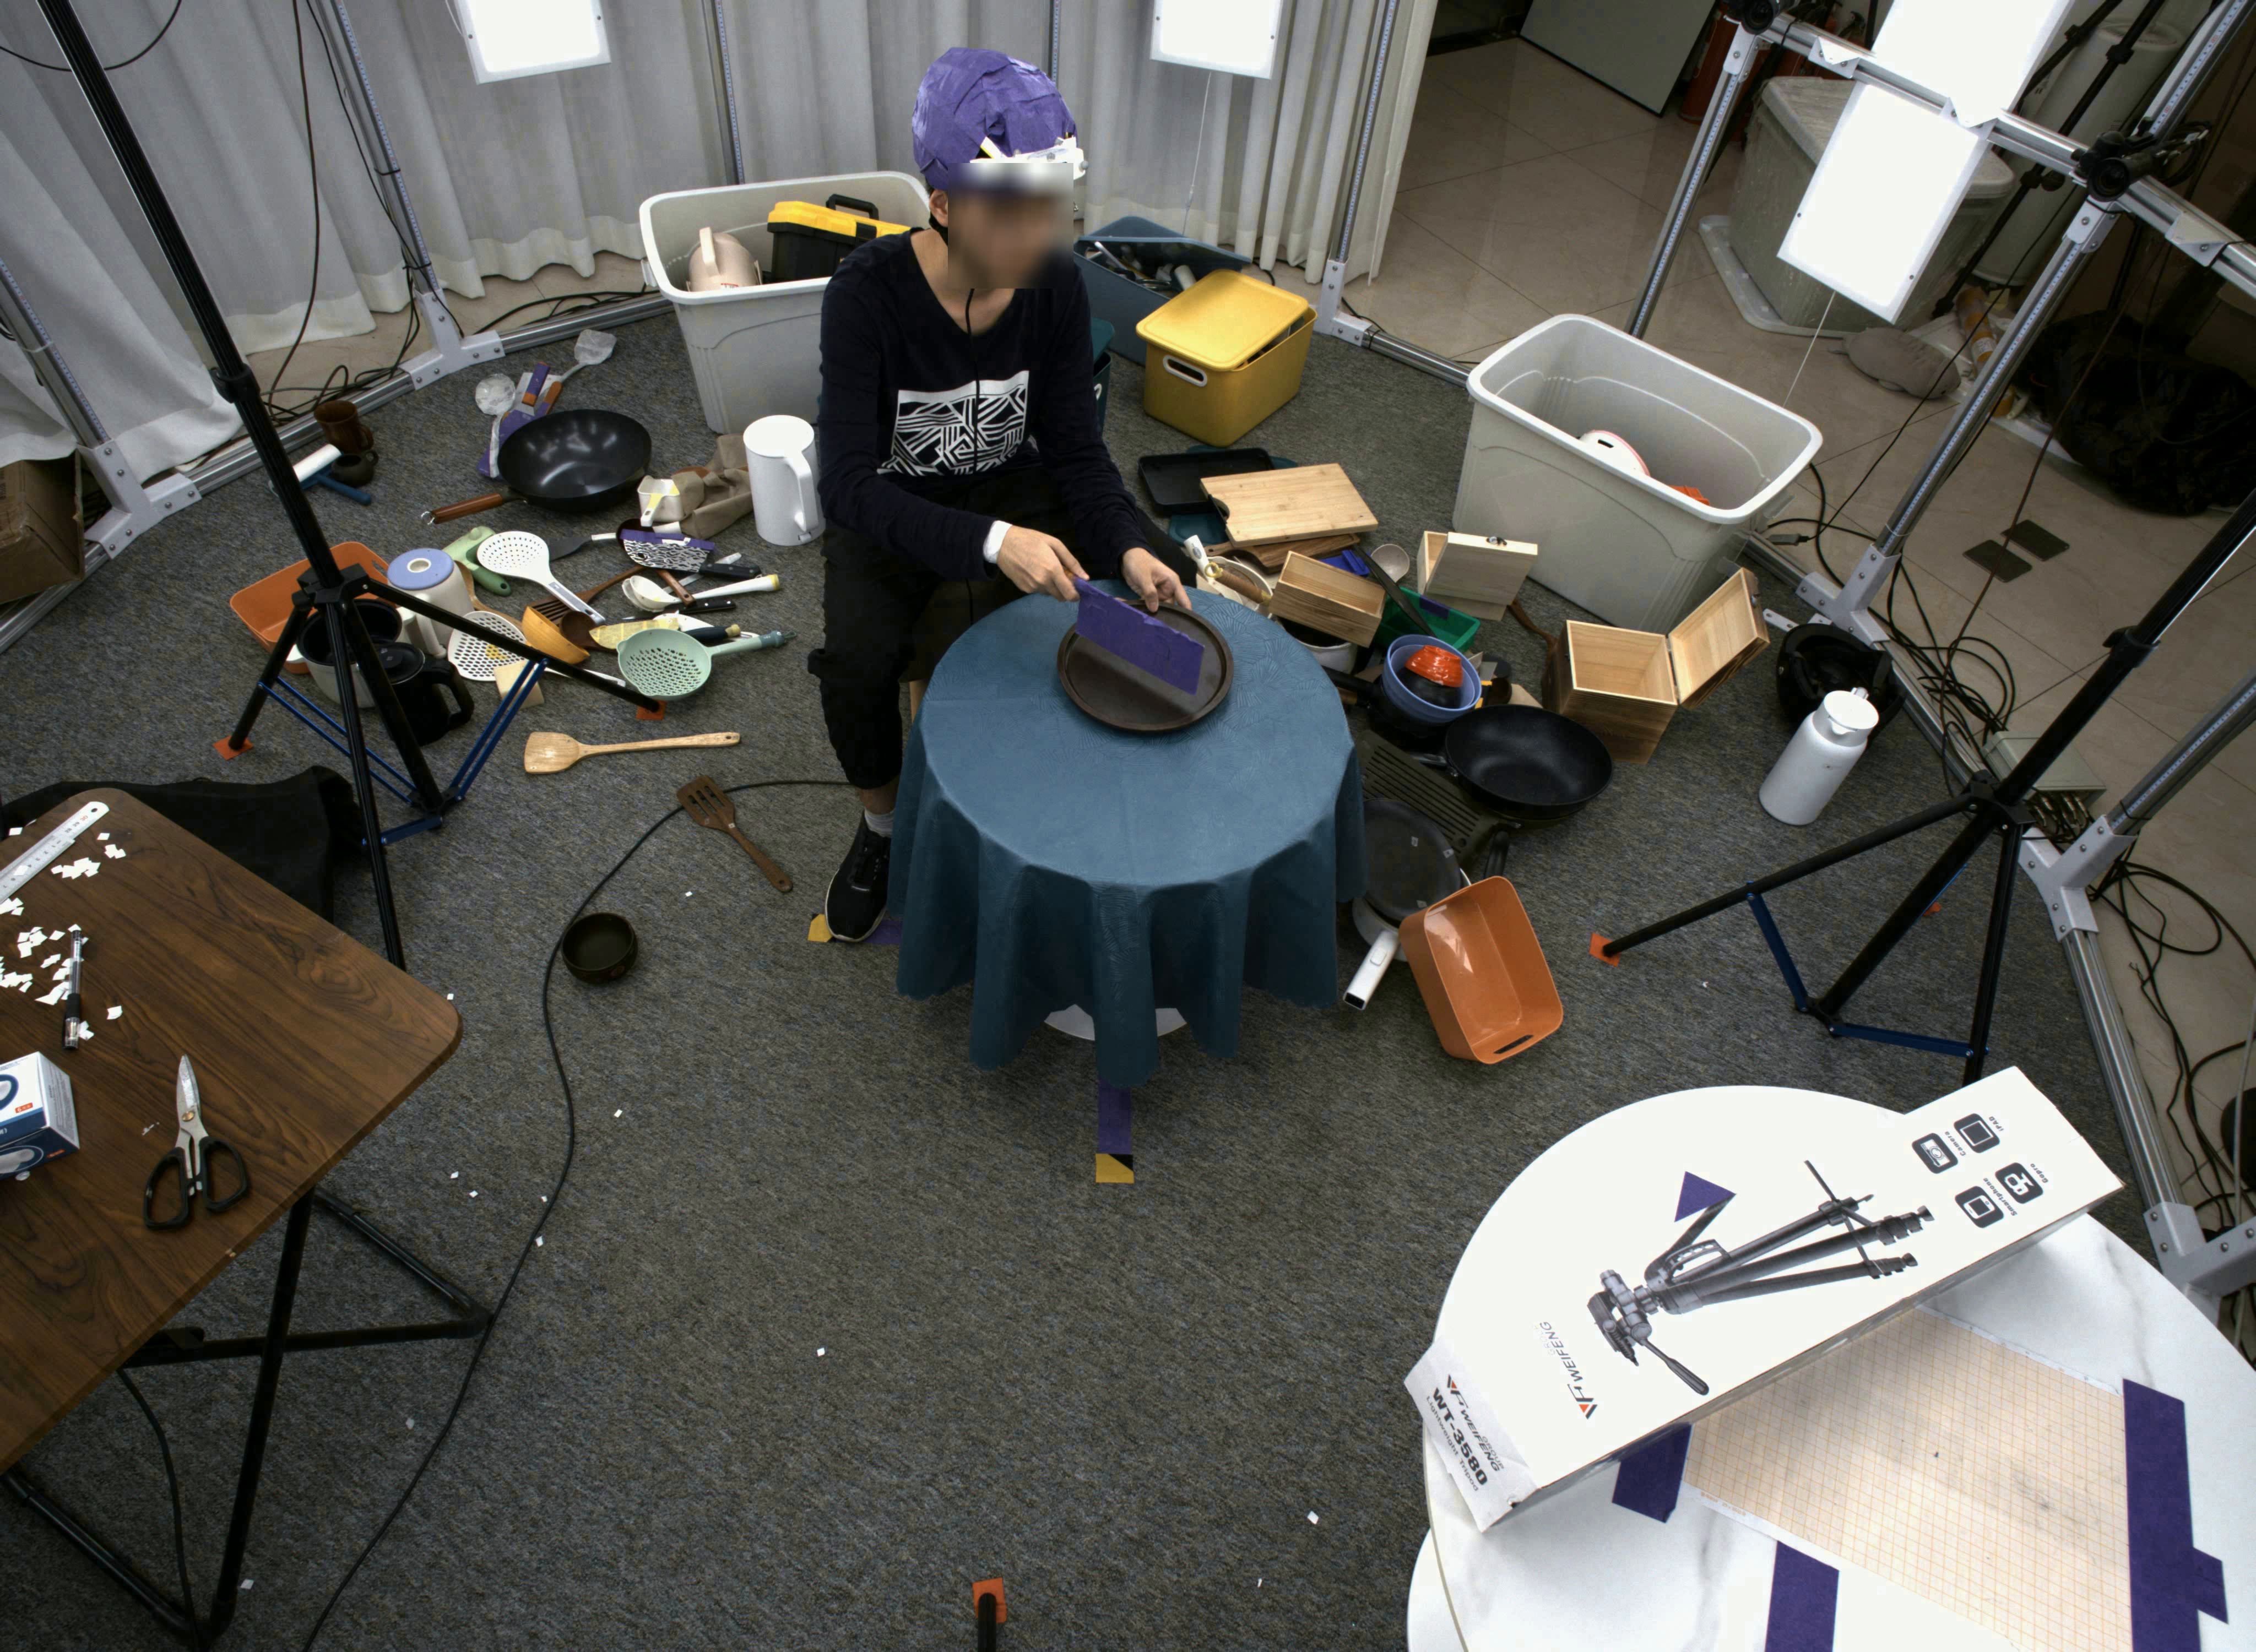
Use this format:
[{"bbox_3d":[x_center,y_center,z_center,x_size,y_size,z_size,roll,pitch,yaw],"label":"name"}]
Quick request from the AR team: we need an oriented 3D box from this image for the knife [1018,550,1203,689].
[{"bbox_3d":[-0.029,-0.286,1.802,0.319,0.101,0.032,32,48,24],"label":"knife"}]

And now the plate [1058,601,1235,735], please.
[{"bbox_3d":[0.026,-0.229,1.842,0.254,0.028,0.261,1,53,-2],"label":"plate"}]
